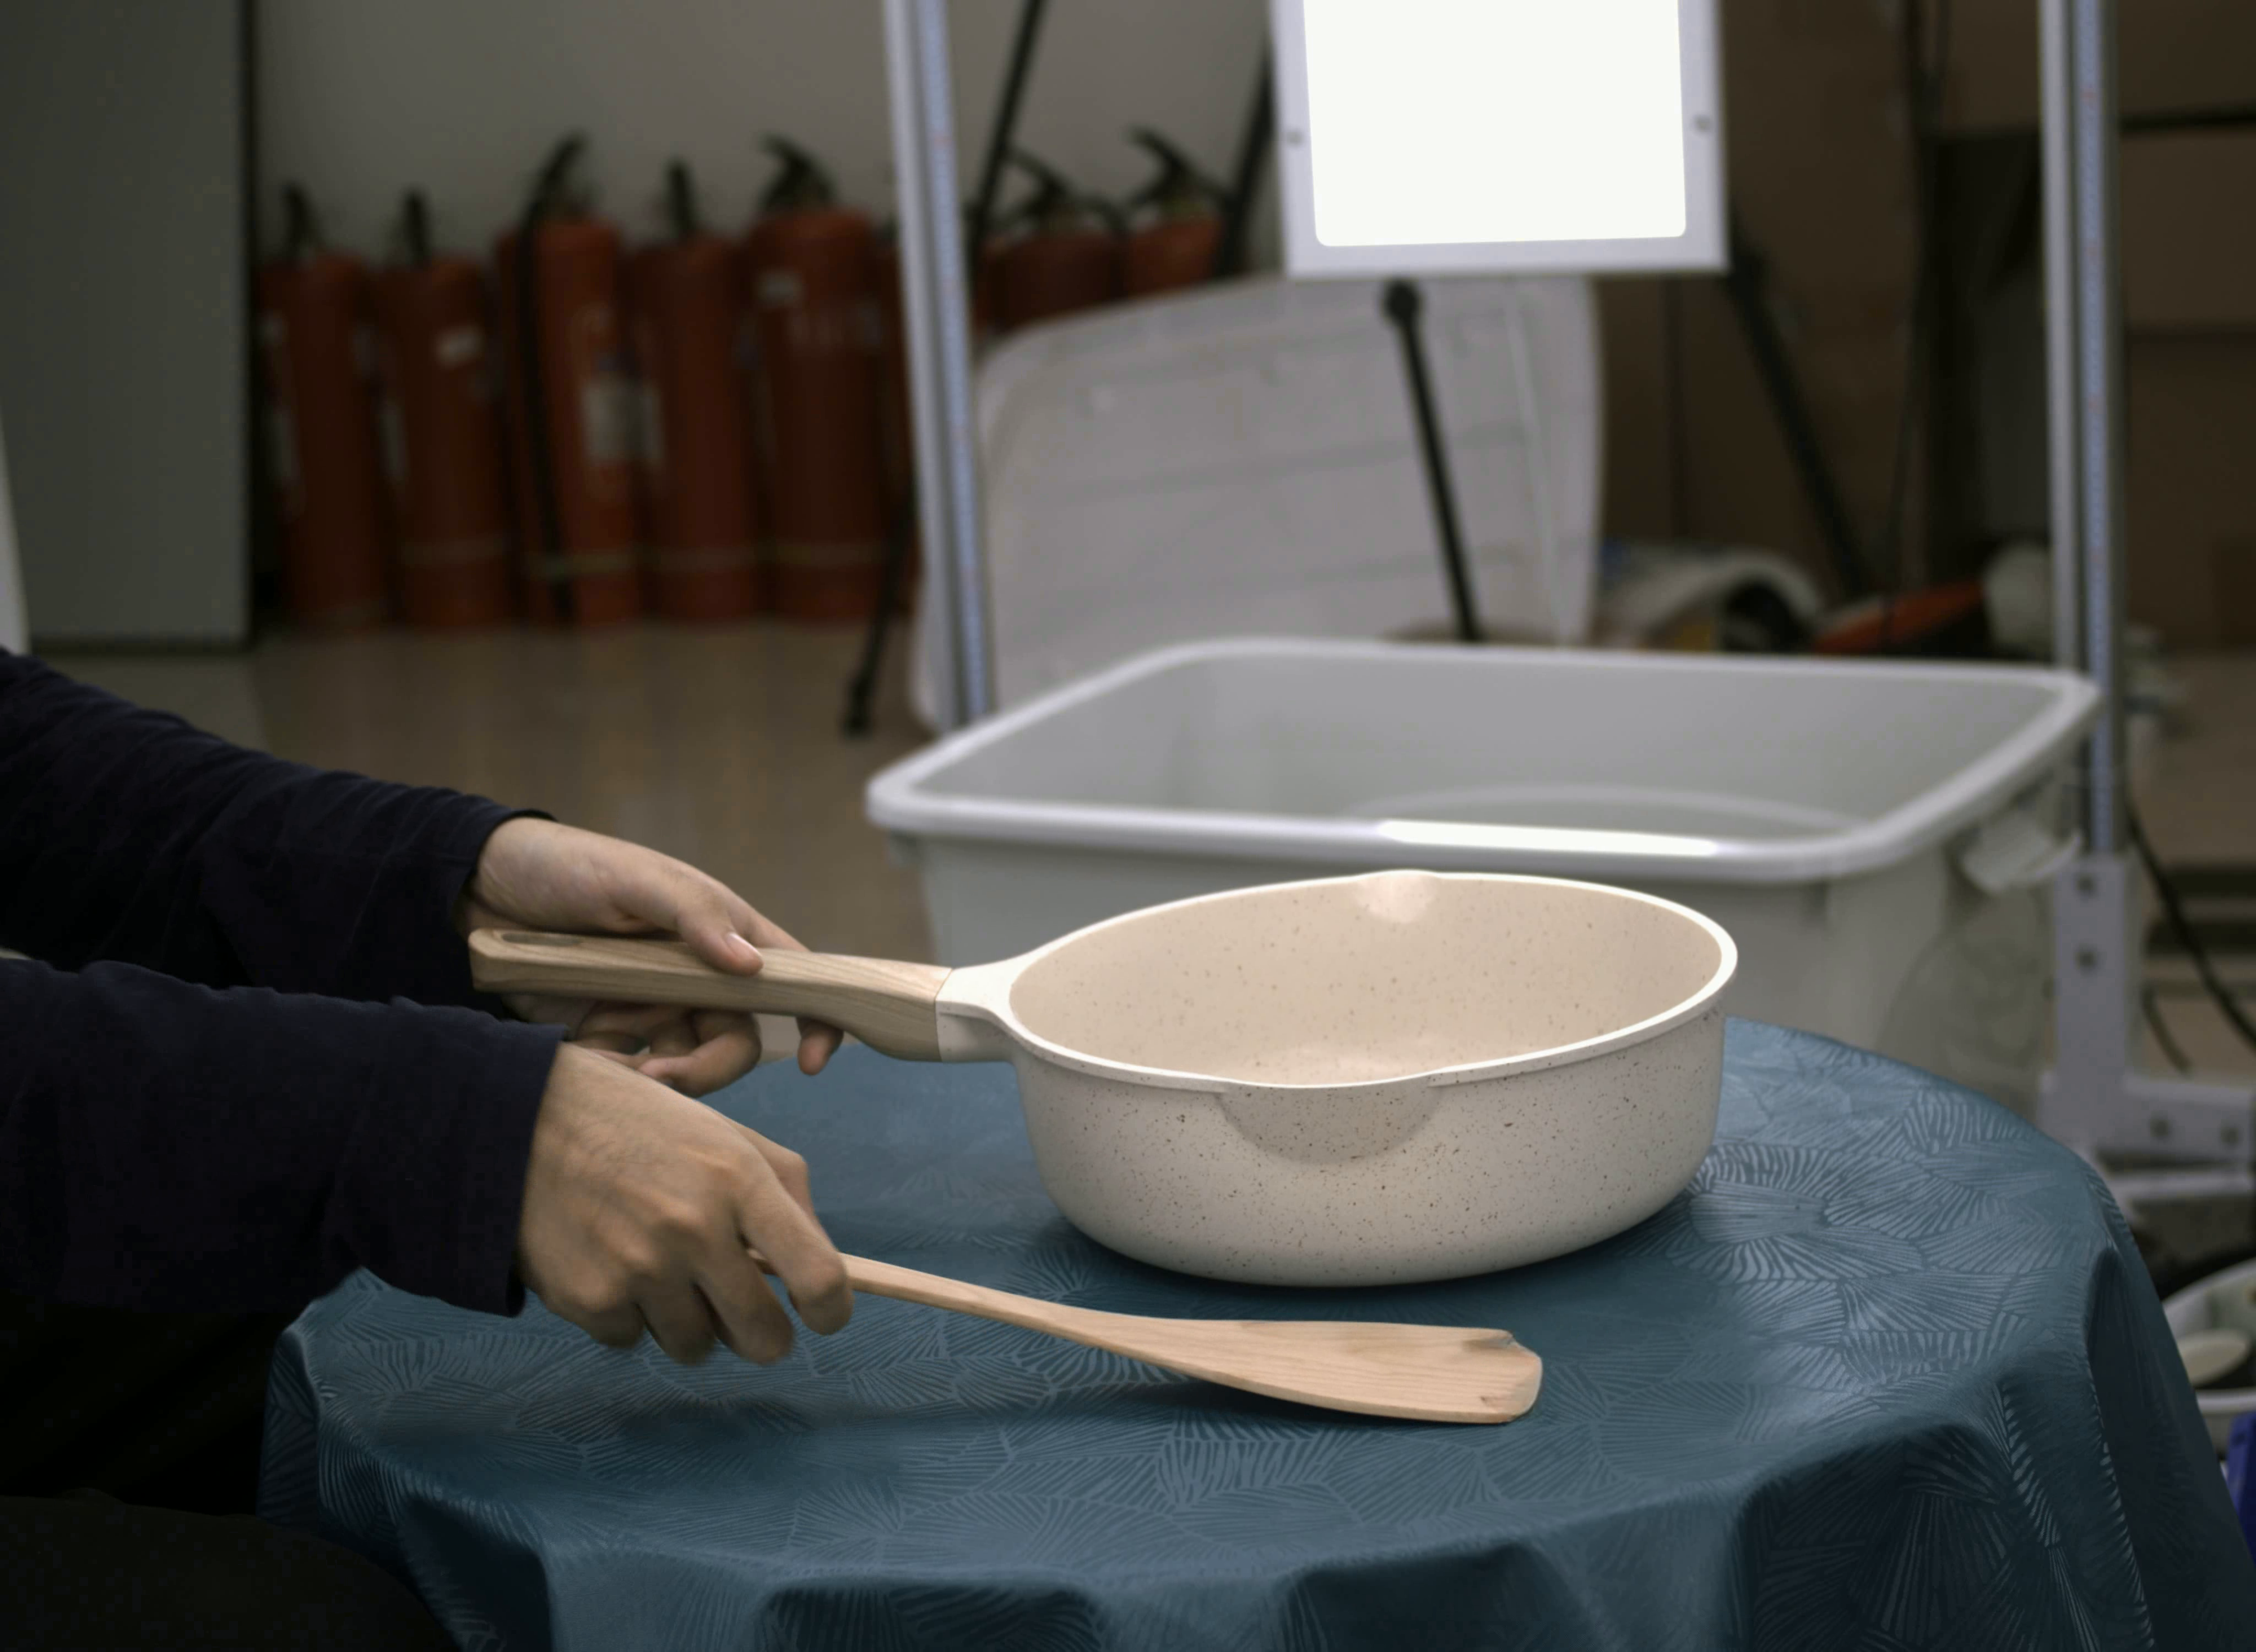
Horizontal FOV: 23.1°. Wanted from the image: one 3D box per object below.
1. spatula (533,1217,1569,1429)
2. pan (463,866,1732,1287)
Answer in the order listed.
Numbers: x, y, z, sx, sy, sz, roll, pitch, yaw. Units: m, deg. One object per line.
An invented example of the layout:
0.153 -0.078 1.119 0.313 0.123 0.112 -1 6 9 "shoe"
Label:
-0.024 0.149 1.702 0.329 0.016 0.079 9 15 8 "spatula"
-0.010 0.084 1.877 0.437 0.102 0.261 -3 15 10 "pan"
